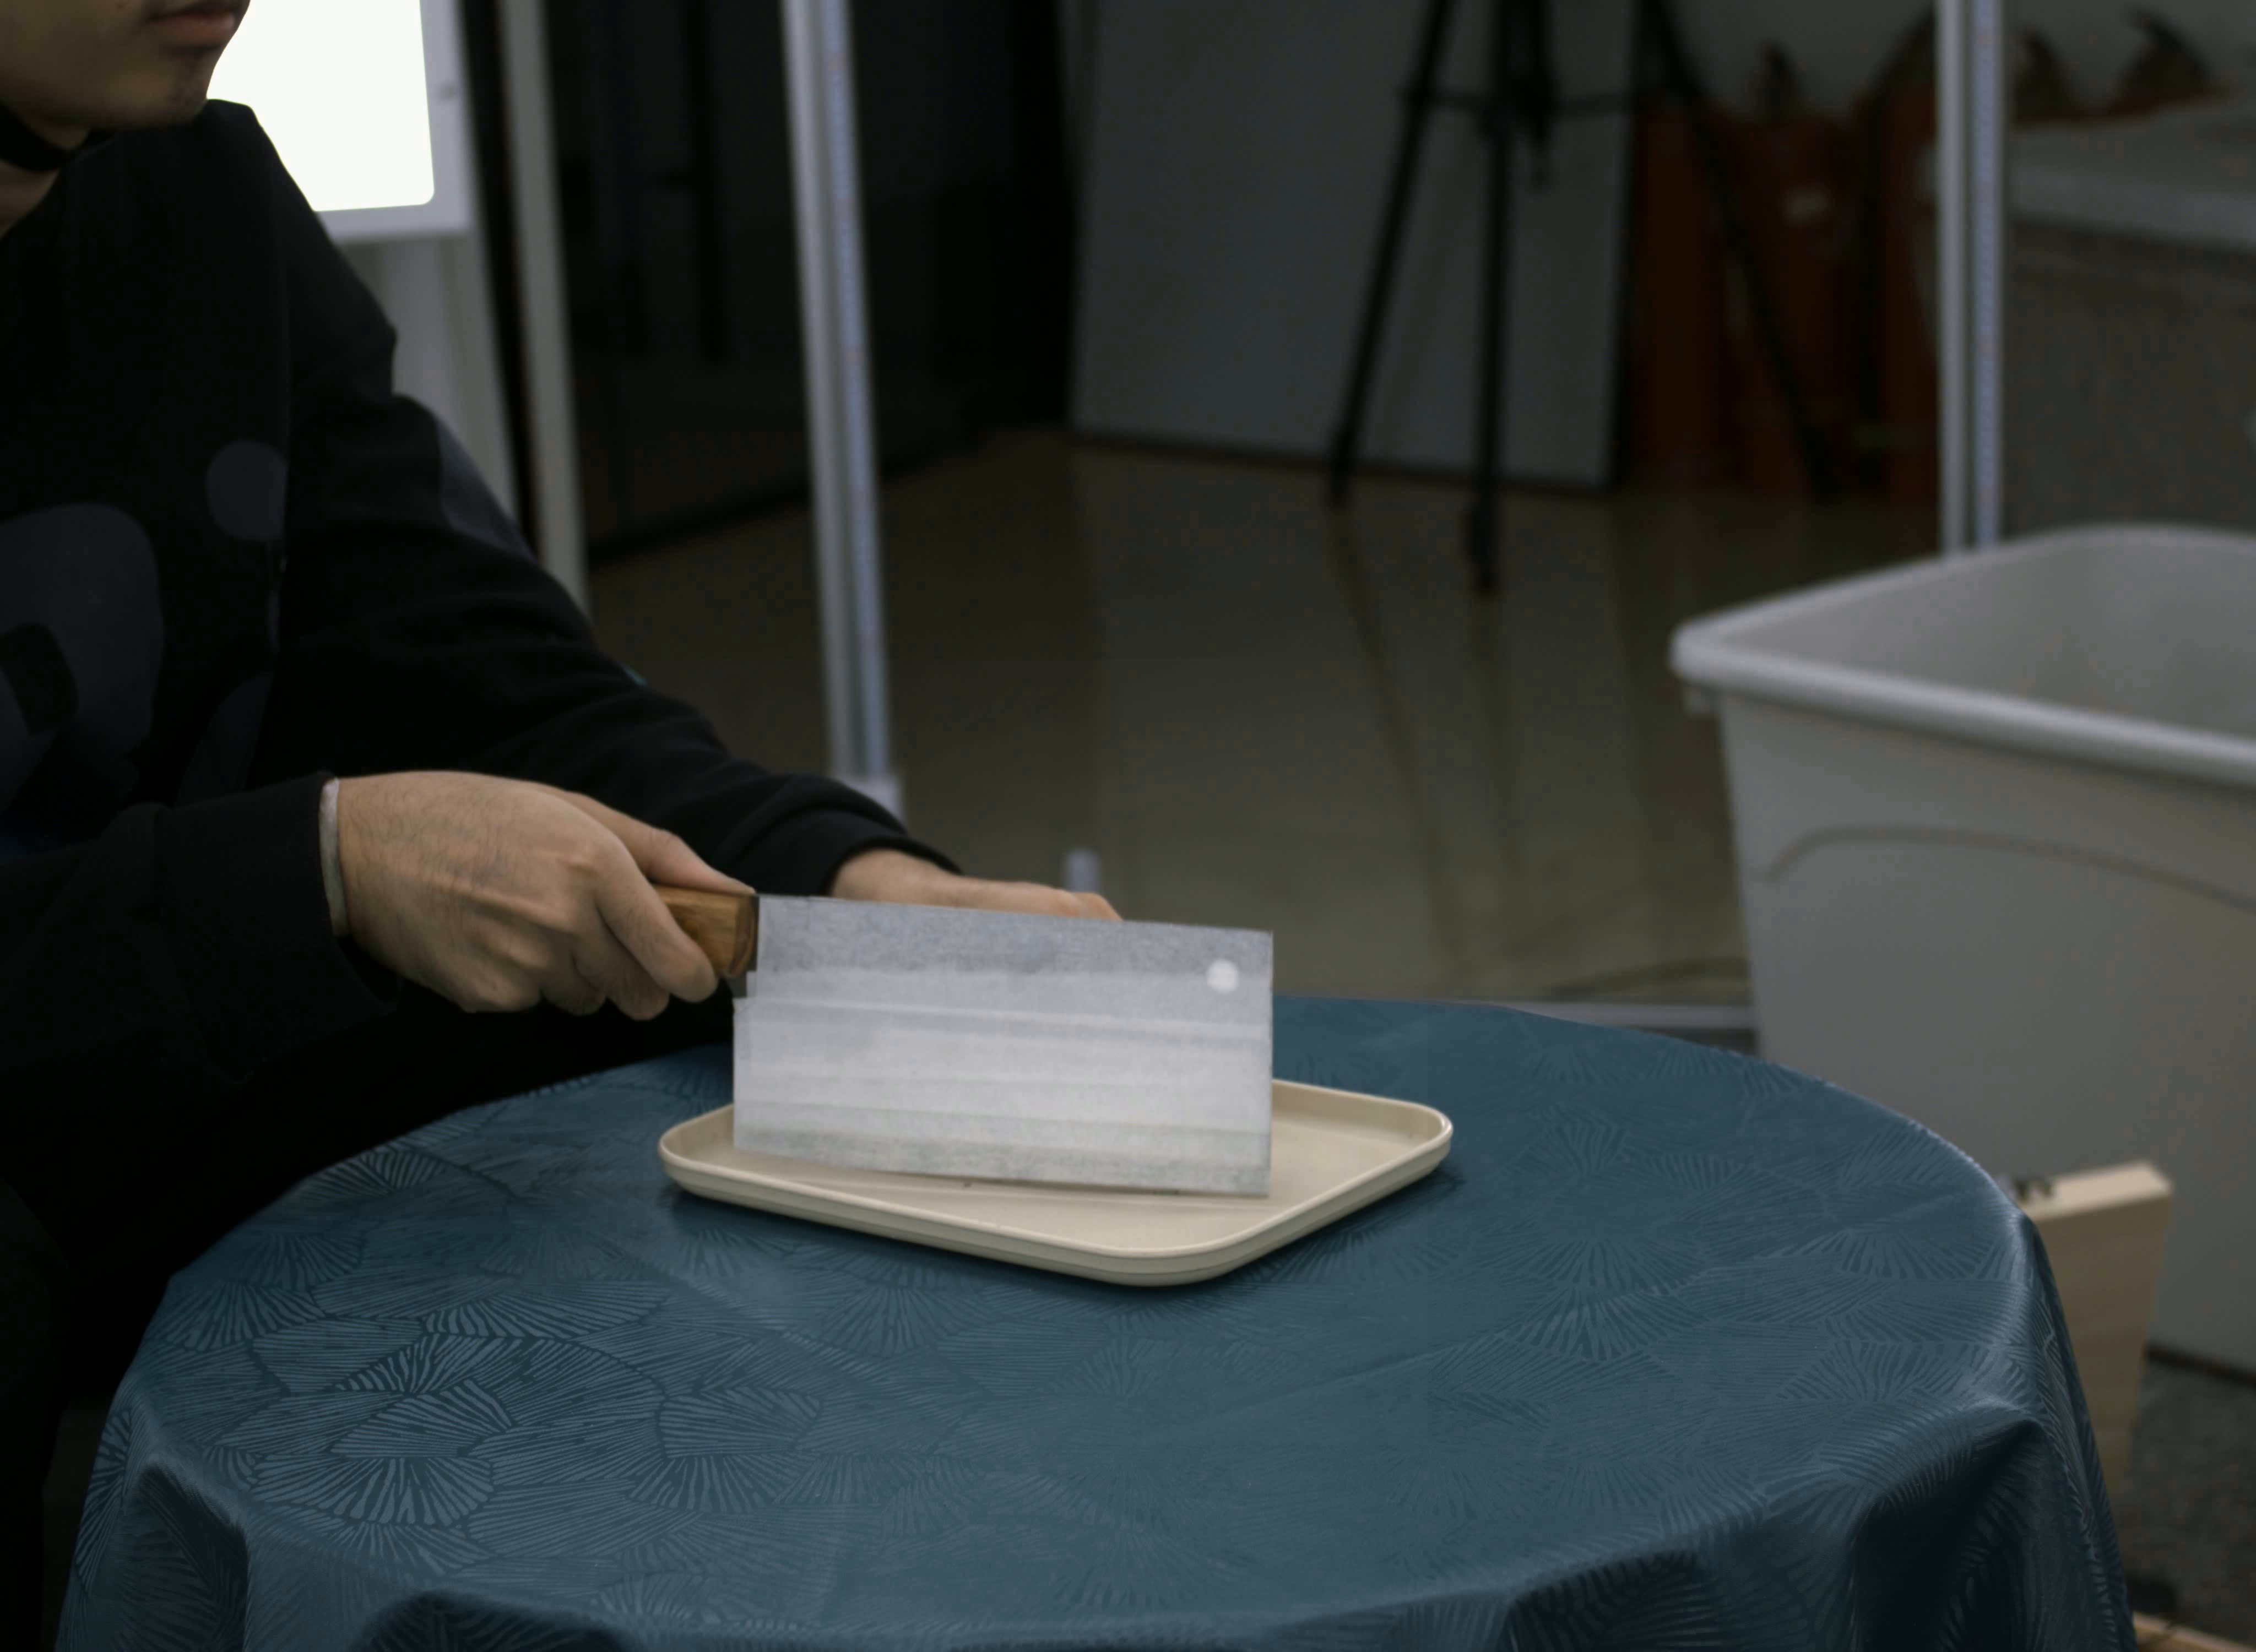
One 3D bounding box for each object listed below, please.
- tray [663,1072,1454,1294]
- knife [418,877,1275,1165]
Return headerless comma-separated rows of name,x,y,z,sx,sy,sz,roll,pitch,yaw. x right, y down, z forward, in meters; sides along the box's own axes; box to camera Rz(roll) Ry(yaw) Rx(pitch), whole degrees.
tray,-0.023,0.110,1.784,0.241,0.017,0.168,8,20,40
knife,-0.095,0.065,1.776,0.305,0.094,0.021,3,10,21
